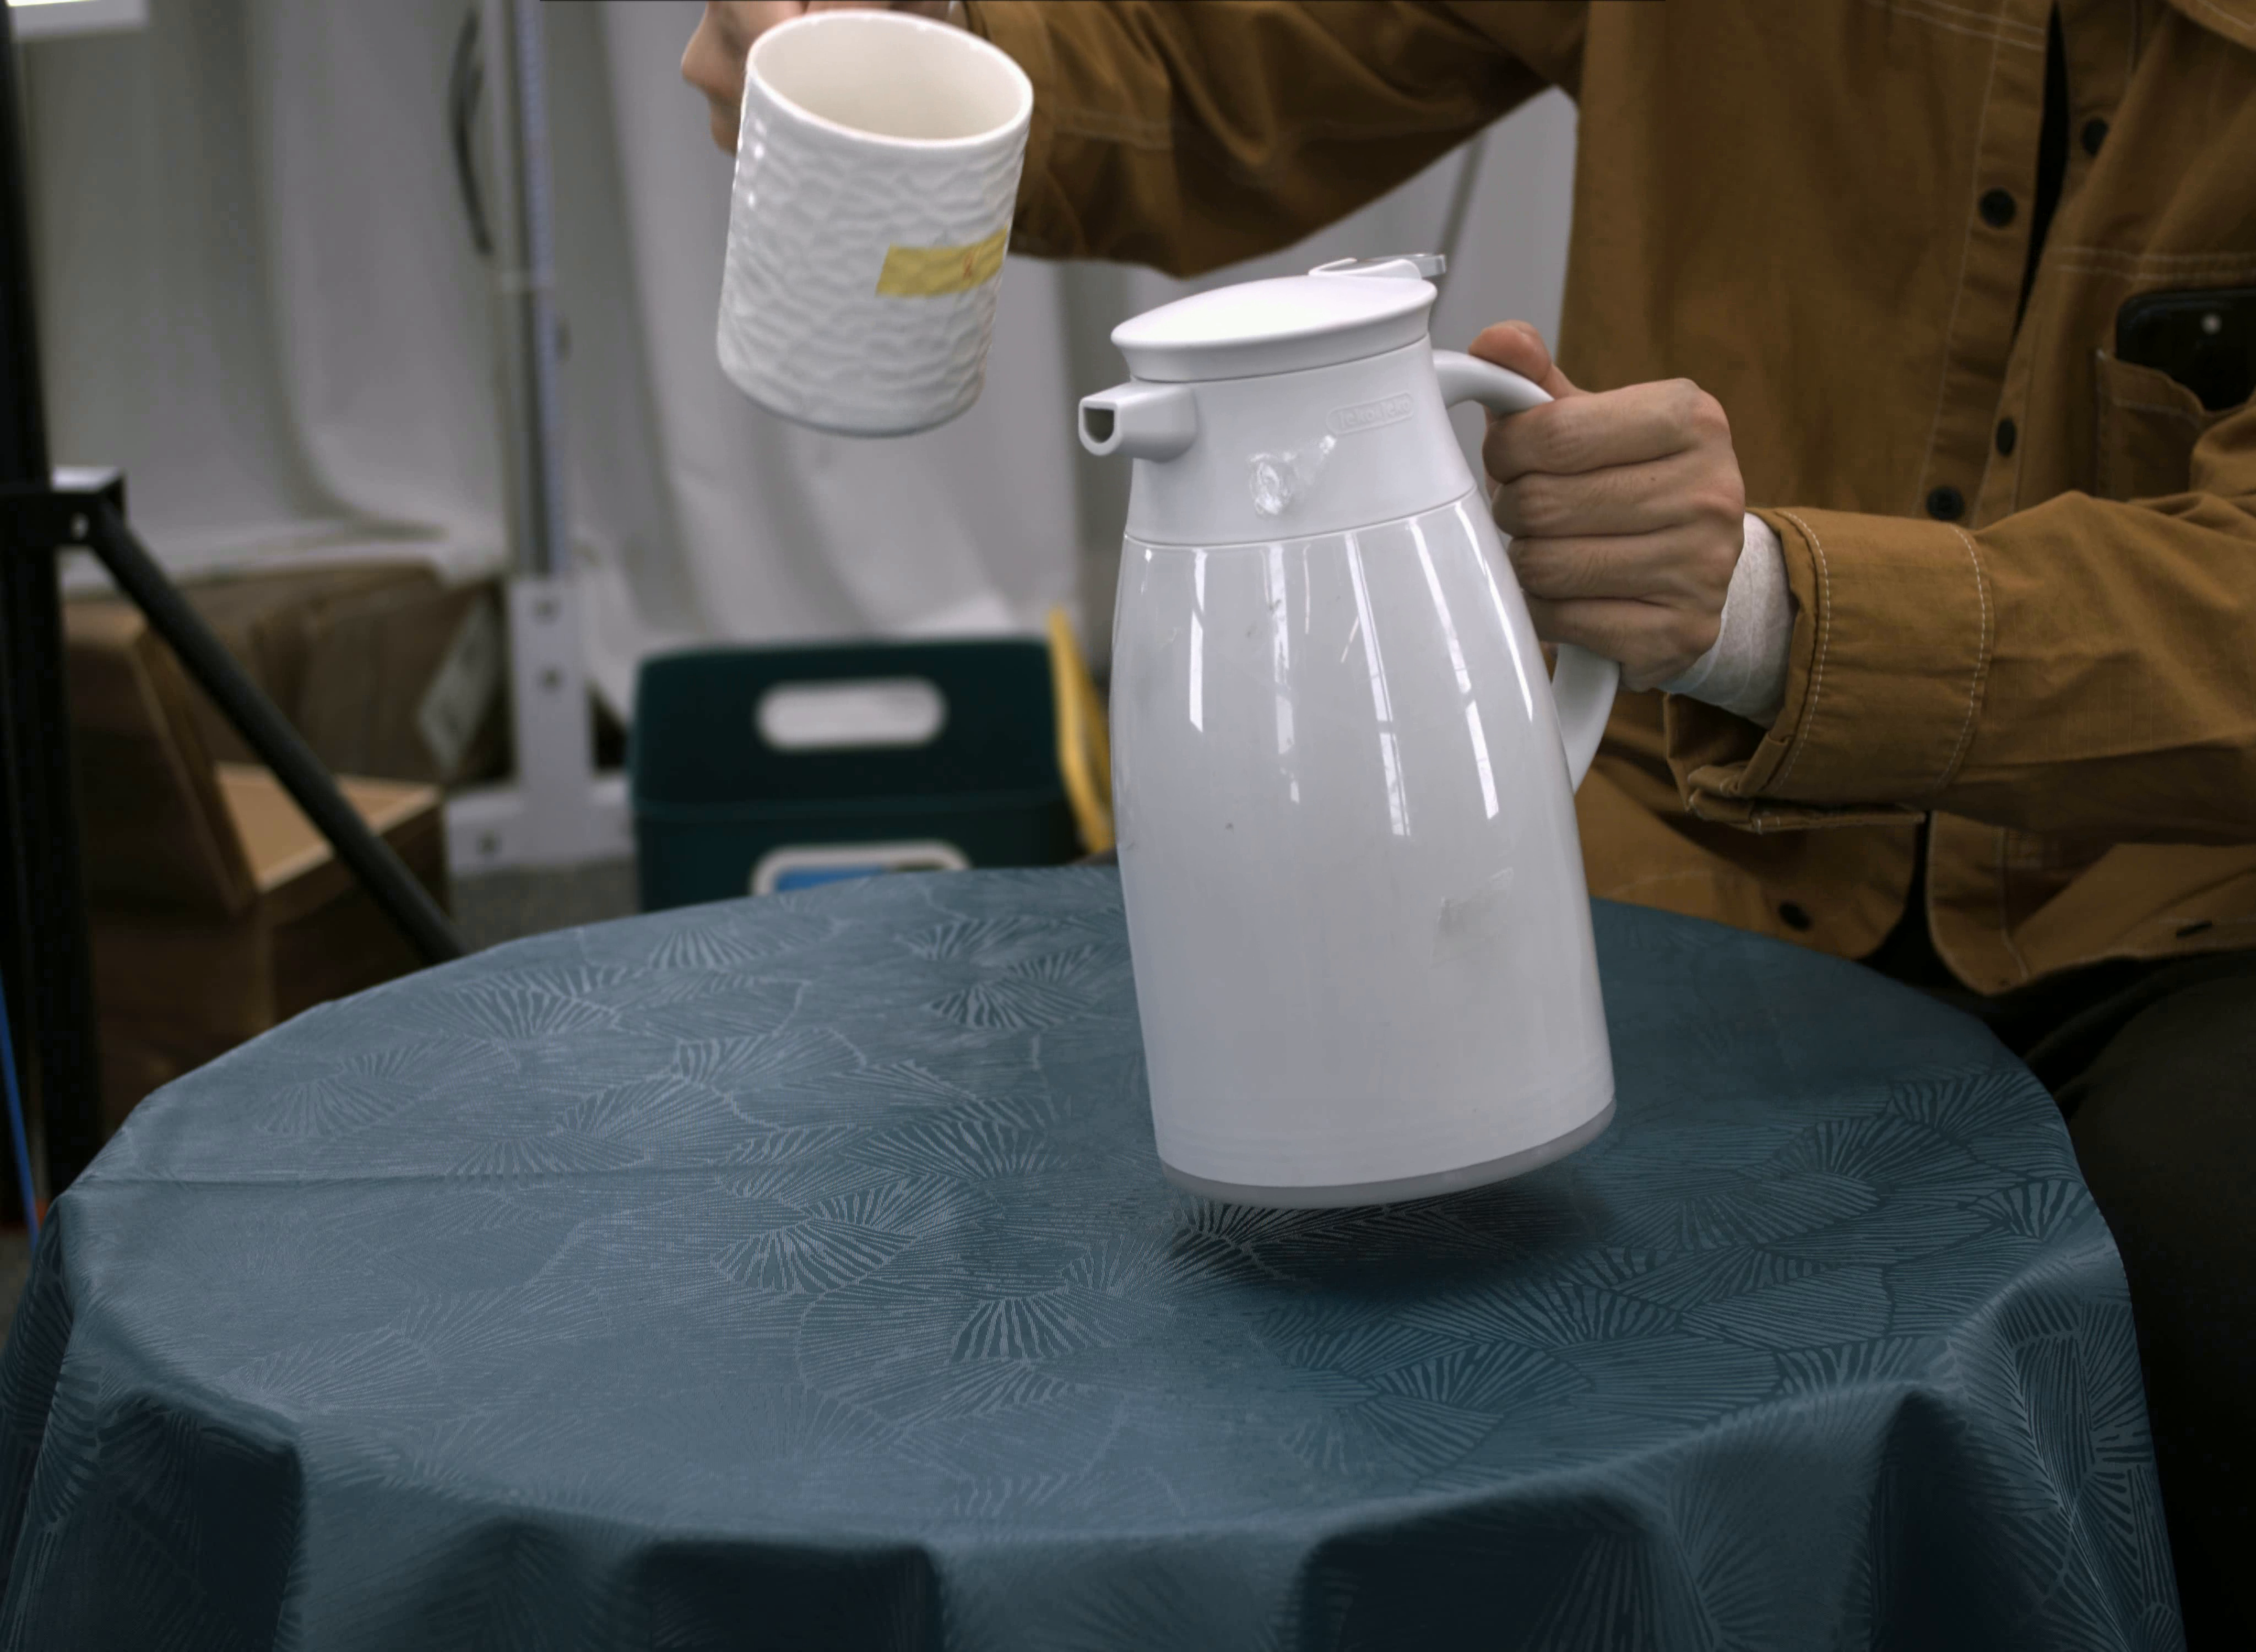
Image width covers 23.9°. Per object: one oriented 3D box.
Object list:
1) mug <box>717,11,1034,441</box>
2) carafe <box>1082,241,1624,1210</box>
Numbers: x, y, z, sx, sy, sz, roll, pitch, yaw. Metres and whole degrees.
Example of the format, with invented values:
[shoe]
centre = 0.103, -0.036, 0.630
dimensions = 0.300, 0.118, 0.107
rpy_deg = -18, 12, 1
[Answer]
[mug]
centre = -0.082, -0.187, 1.610
dimensions = 0.083, 0.102, 0.120
rpy_deg = -2, 34, -19
[carafe]
centre = 0.072, -0.035, 1.494
dimensions = 0.164, 0.248, 0.135
rpy_deg = -15, 13, -31
